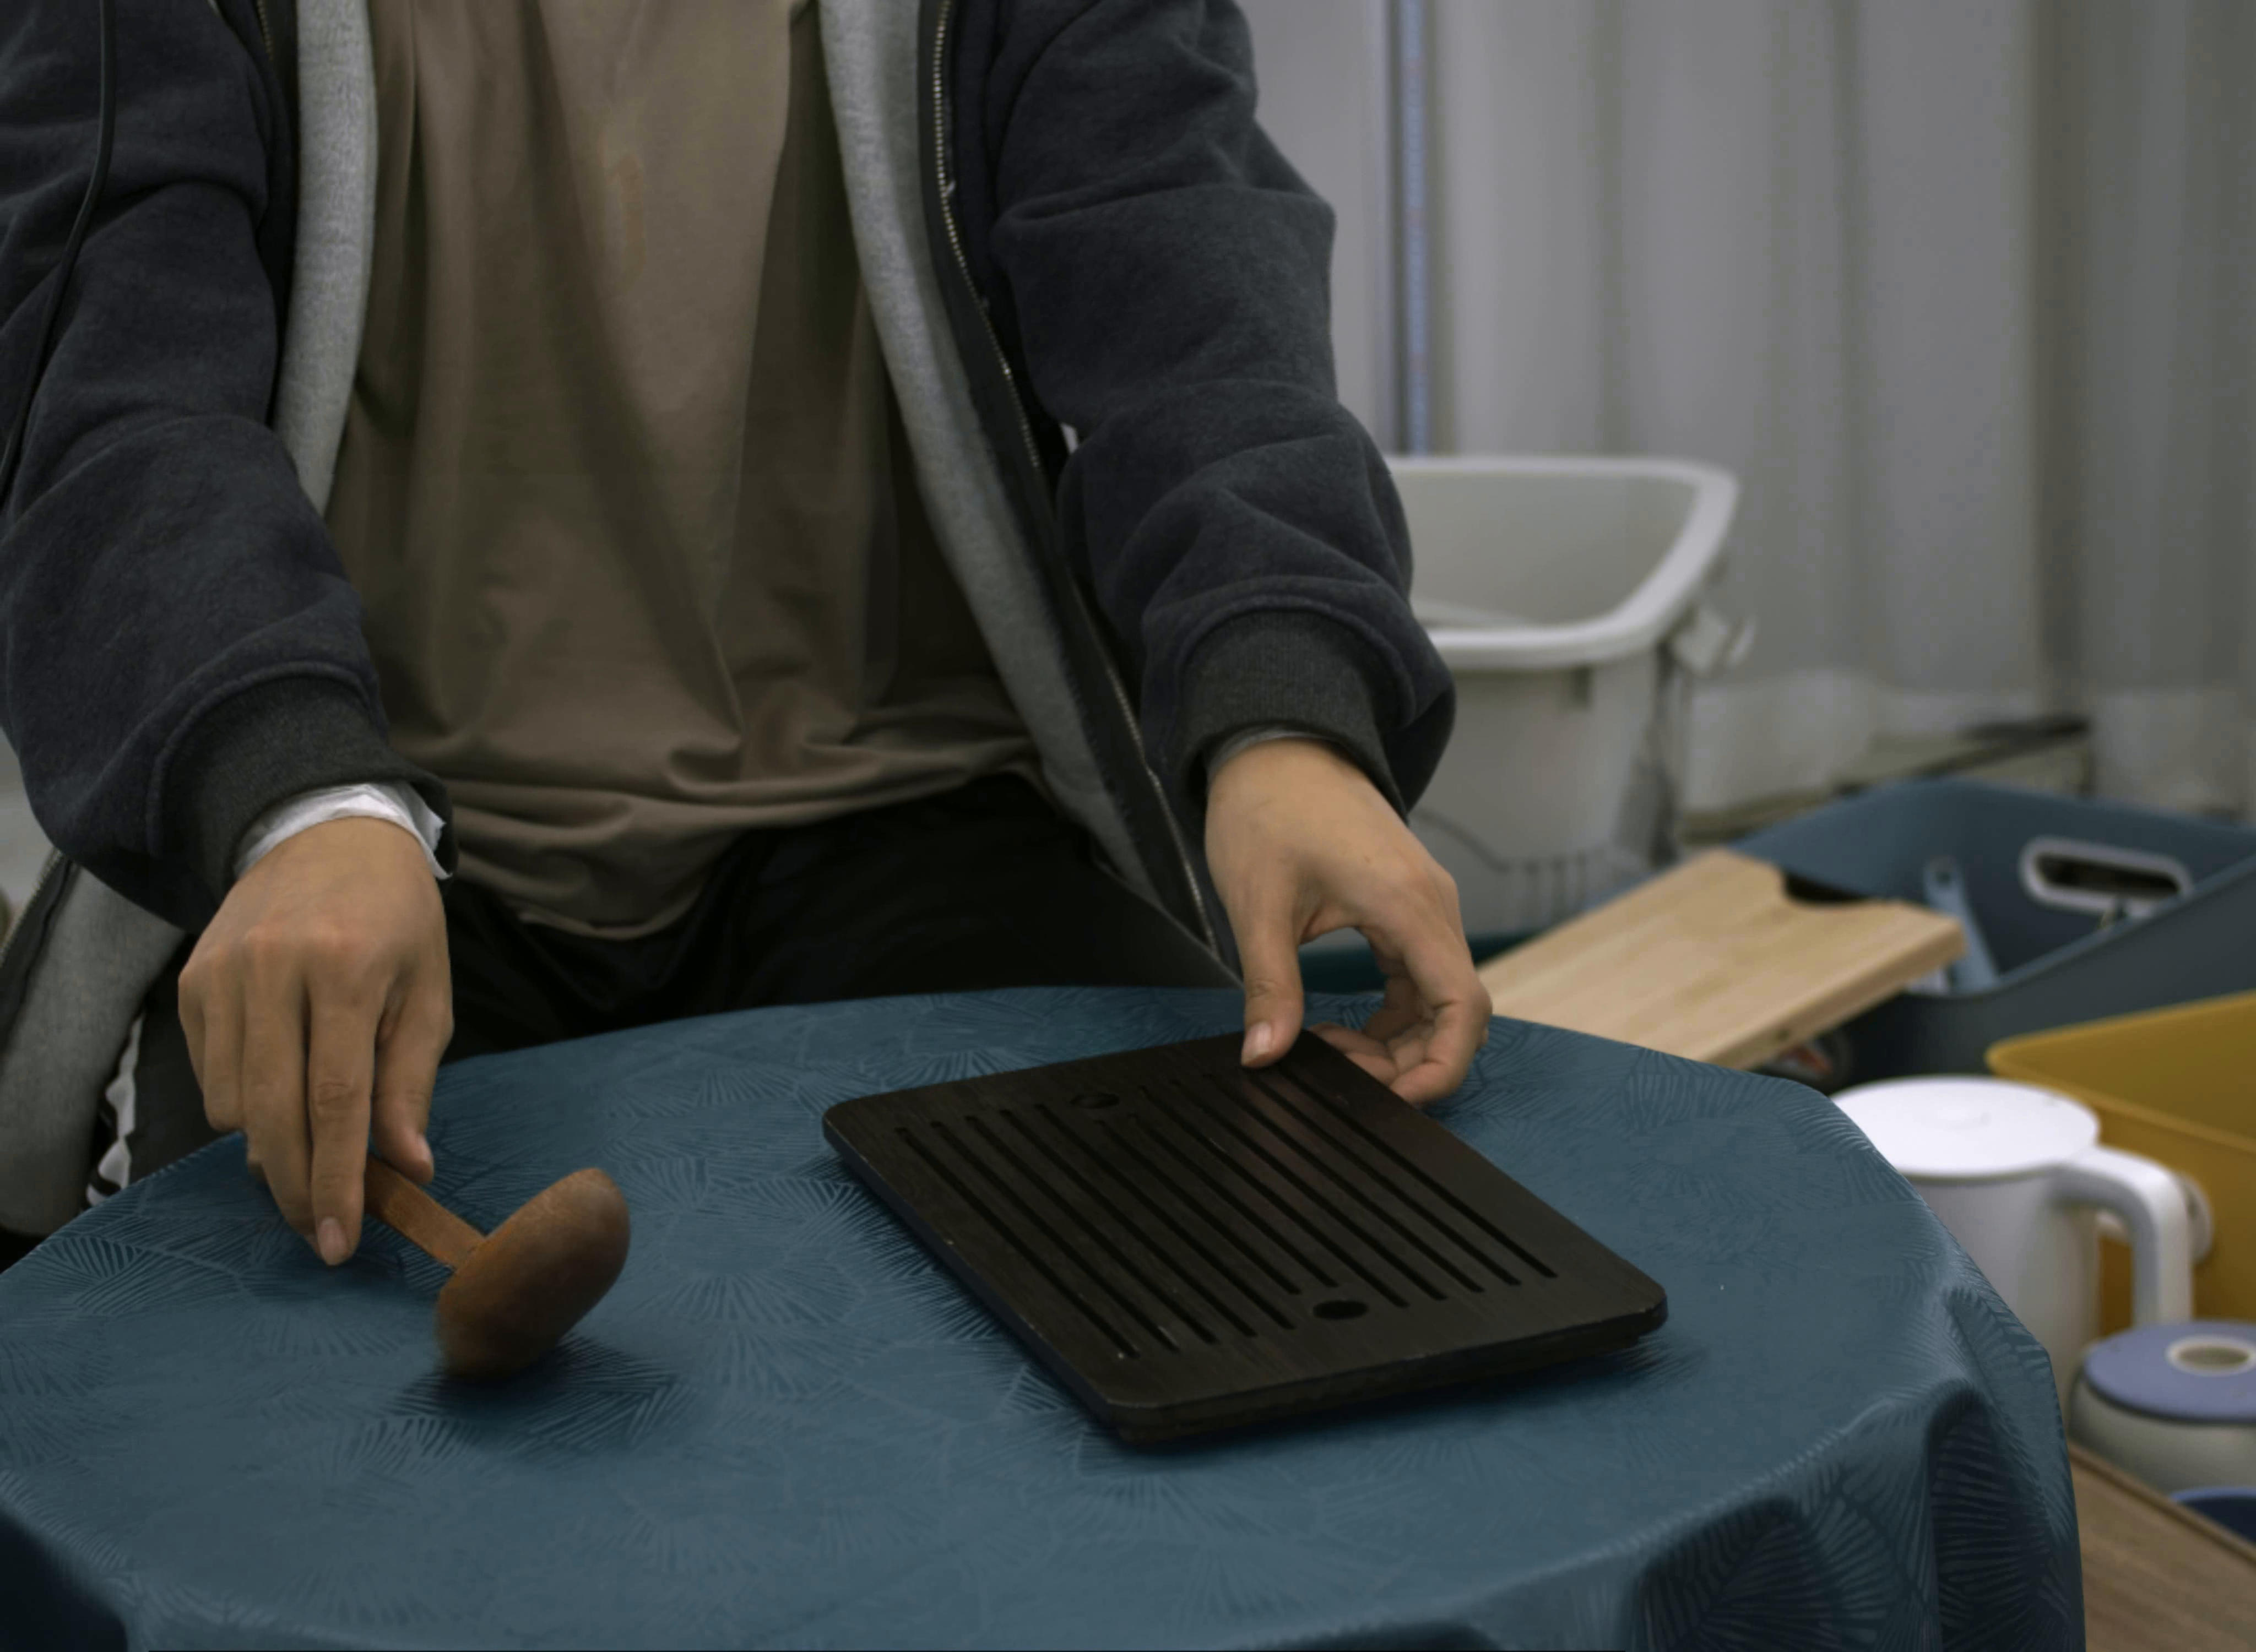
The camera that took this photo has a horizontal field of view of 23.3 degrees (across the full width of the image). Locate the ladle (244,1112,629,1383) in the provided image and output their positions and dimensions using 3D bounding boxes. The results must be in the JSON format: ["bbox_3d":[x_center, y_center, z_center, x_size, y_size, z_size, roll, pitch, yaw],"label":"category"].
[{"bbox_3d":[-0.224,0.110,1.657,0.076,0.064,0.262,-38,28,-18],"label":"ladle"}]

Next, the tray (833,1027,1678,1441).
[{"bbox_3d":[0.031,0.119,1.653,0.169,0.018,0.308,-9,16,-17],"label":"tray"}]
